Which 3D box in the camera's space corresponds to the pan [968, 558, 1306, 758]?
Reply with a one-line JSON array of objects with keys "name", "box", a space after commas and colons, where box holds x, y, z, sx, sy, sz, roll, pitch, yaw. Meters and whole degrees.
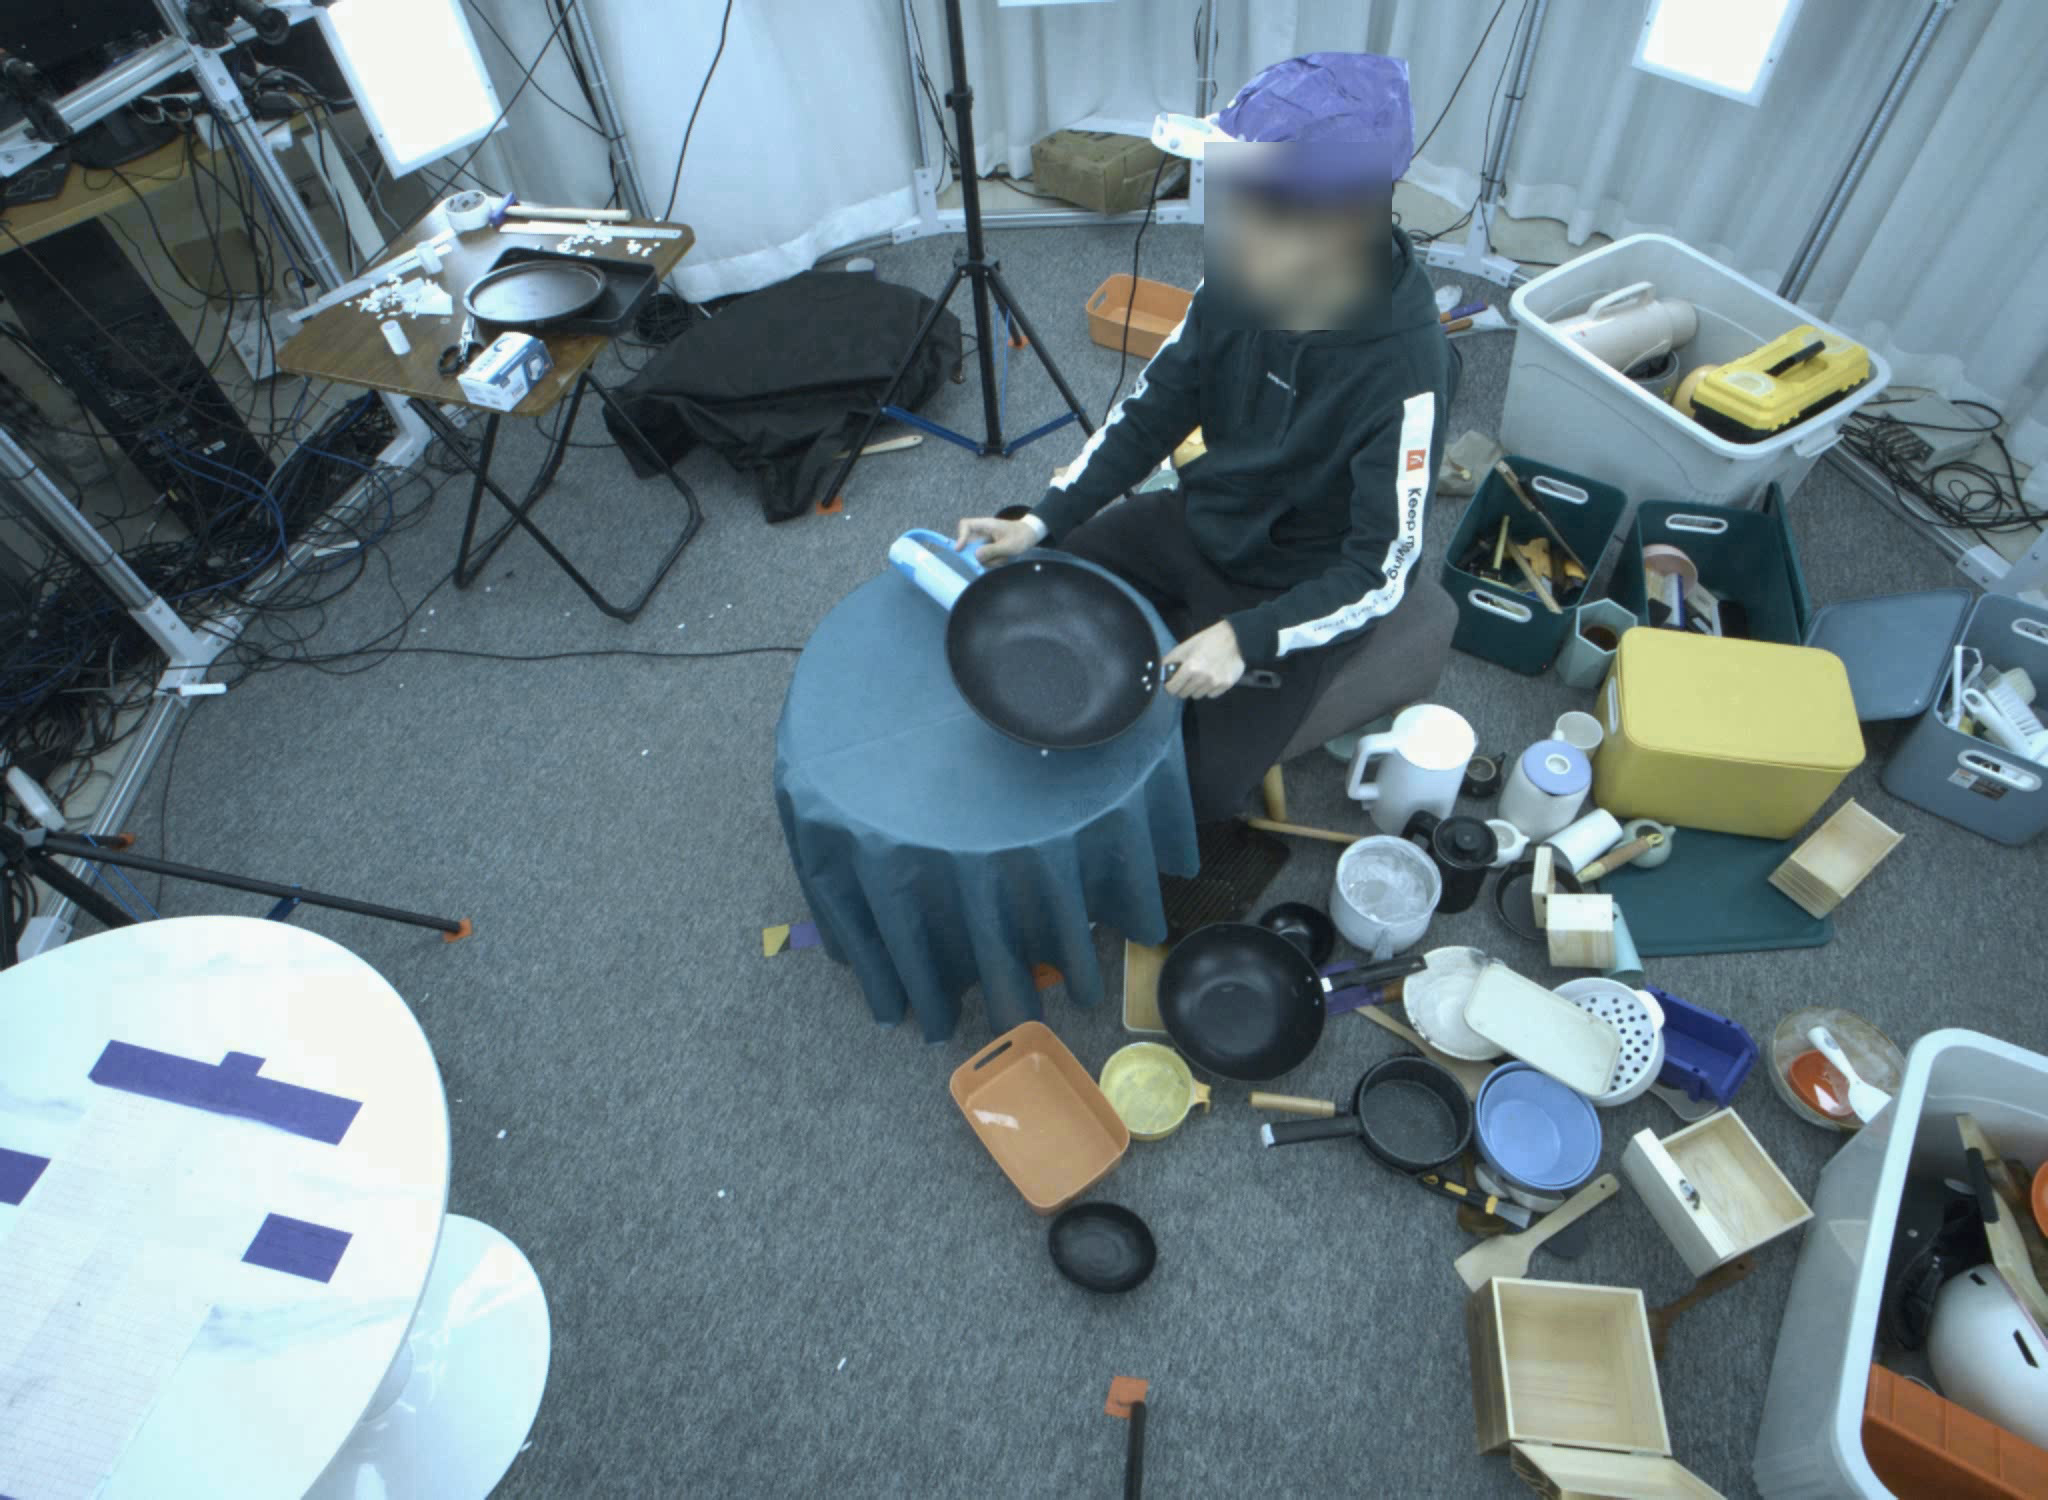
[{"name": "pan", "box": [0.153, -0.105, 1.731, 0.481, 0.111, 0.308, 11, 65, -10]}]

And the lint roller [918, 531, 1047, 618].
[{"name": "lint roller", "box": [-0.043, -0.287, 1.899, 0.182, 0.069, 0.224, -31, 50, -26]}]
